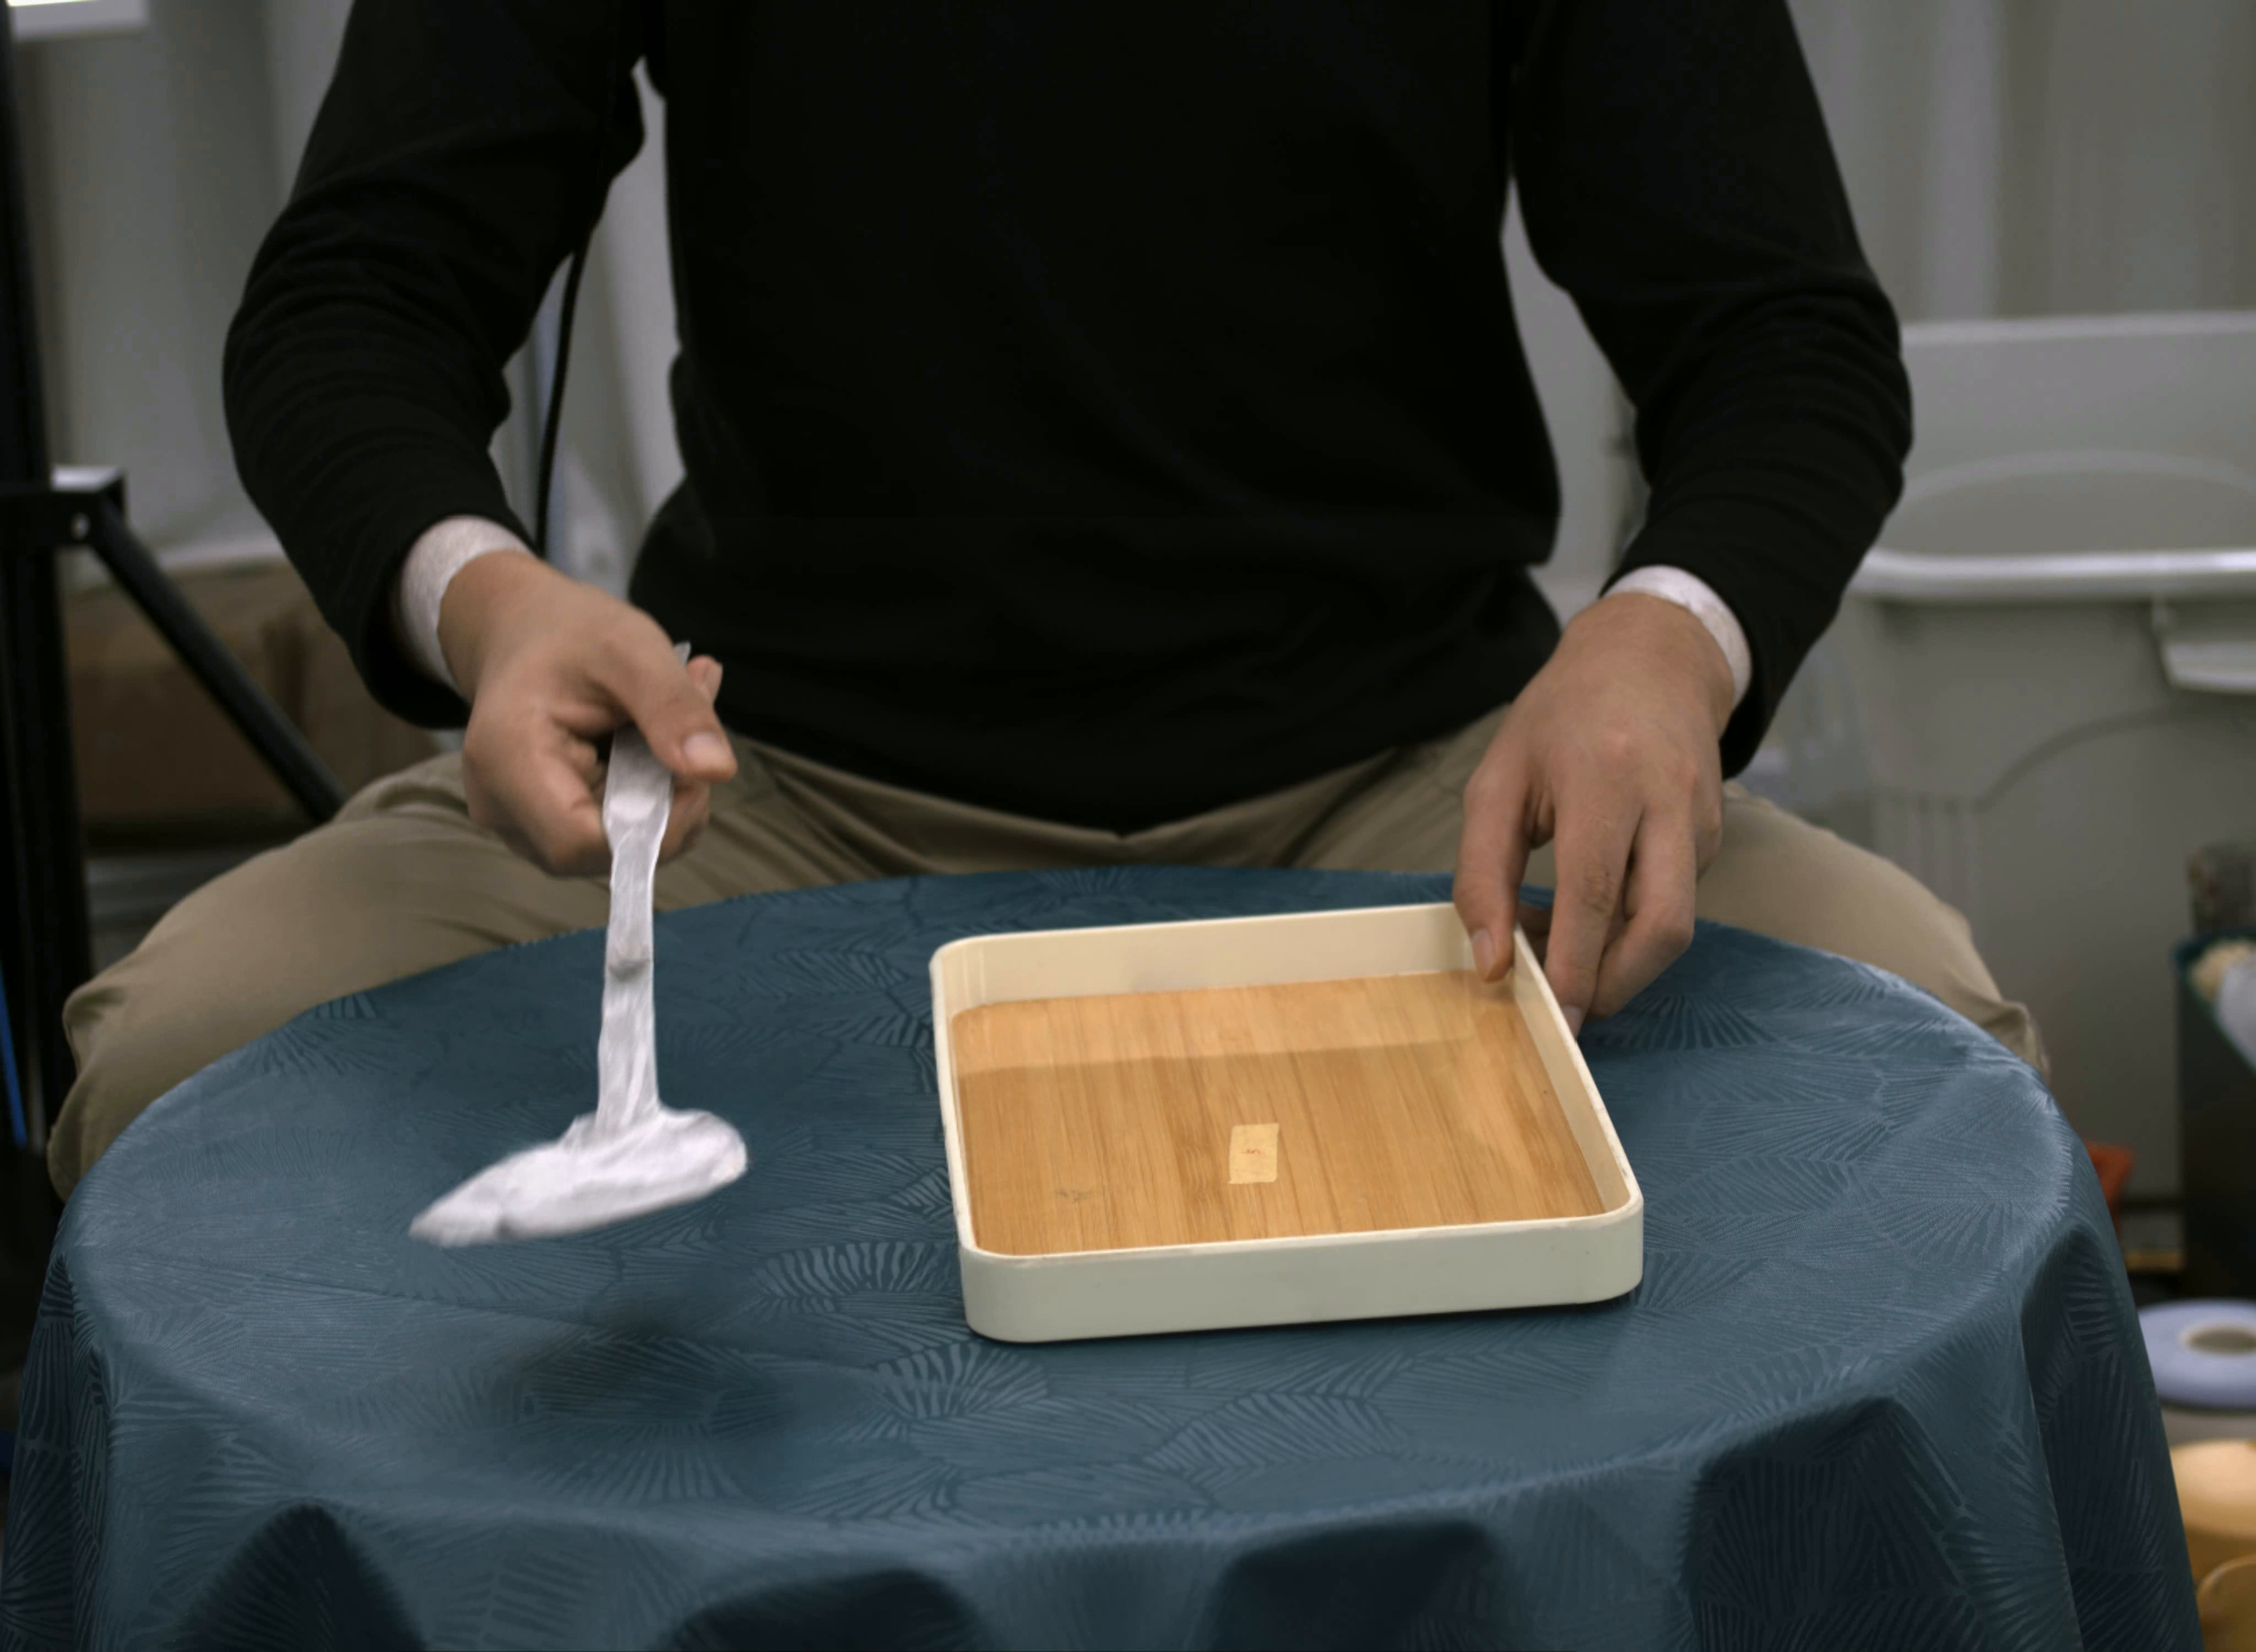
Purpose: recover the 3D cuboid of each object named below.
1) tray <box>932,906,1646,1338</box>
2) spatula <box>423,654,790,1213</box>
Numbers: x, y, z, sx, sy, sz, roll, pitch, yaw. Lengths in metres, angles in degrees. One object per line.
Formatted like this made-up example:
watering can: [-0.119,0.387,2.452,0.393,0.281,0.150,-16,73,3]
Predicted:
tray: [0.041,0.084,1.580,0.190,0.027,0.302,-4,16,-2]
spatula: [-0.141,0.021,1.548,0.098,0.044,0.368,-11,30,4]
